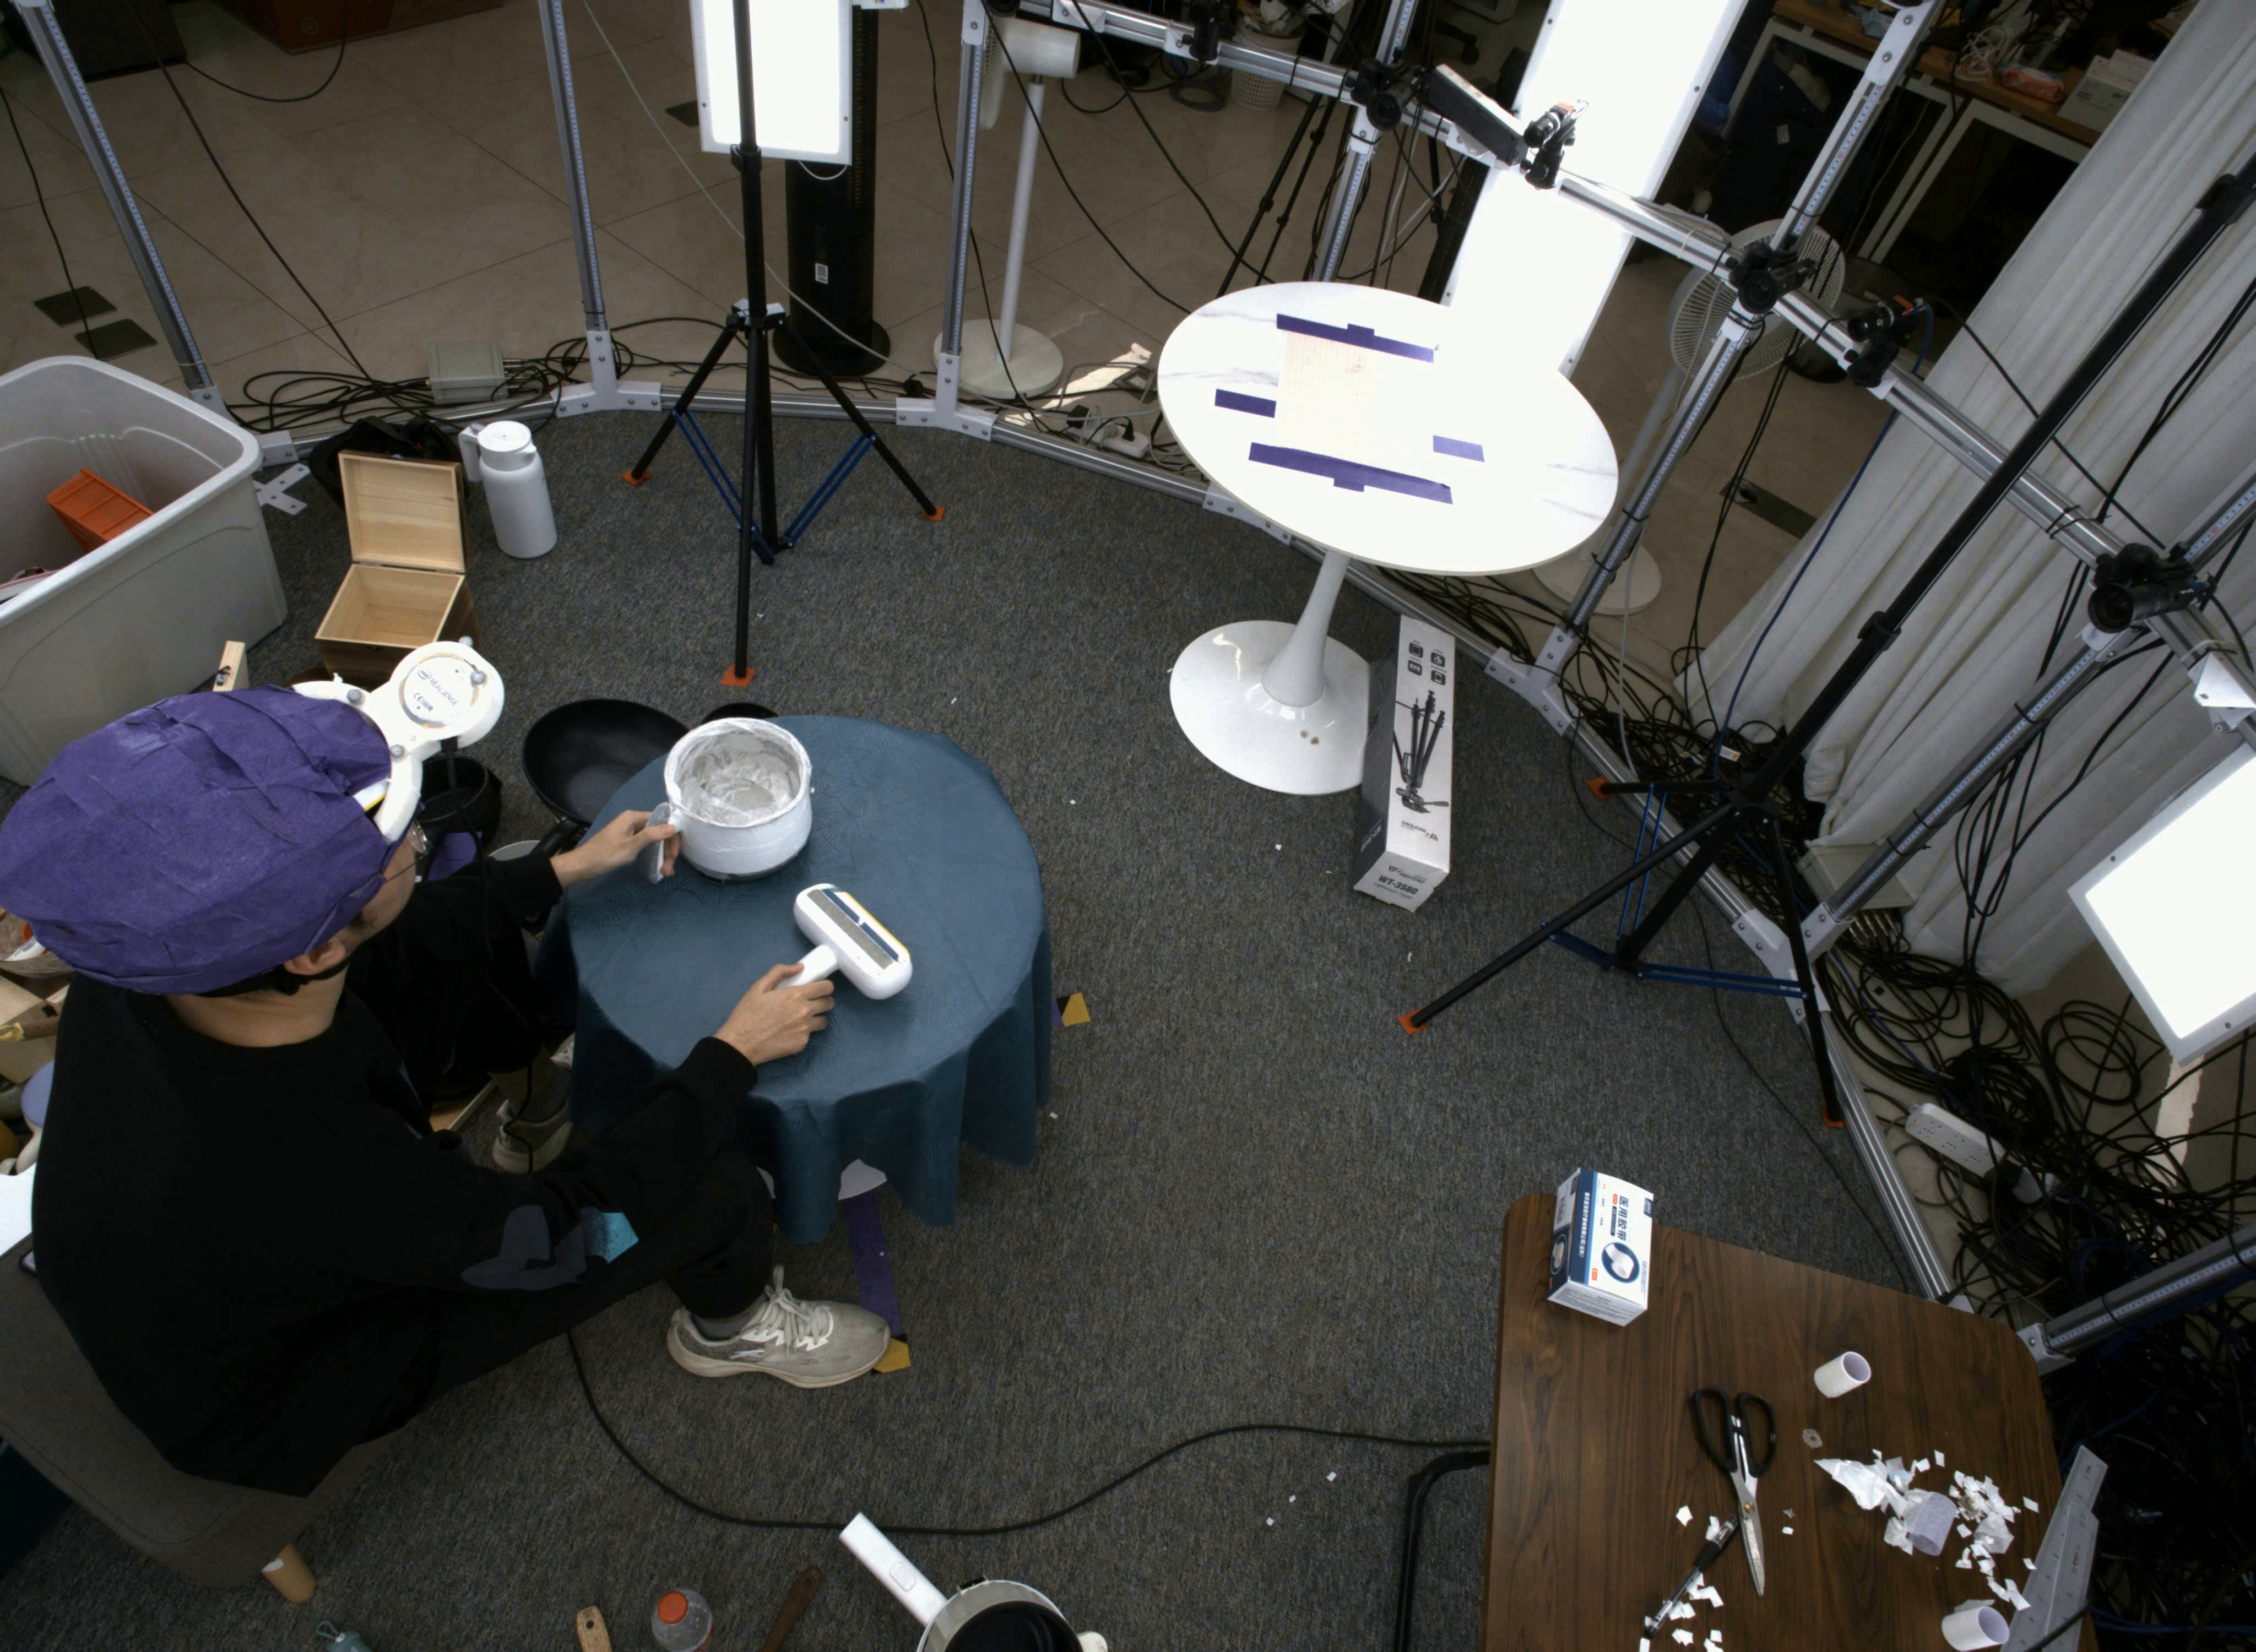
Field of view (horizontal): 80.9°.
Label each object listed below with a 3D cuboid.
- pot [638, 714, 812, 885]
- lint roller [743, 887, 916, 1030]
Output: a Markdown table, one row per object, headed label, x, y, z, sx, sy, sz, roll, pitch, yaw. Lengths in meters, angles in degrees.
| label | x | y | z | sx | sy | sz | roll | pitch | yaw |
| --- | --- | --- | --- | --- | --- | --- | --- | --- | --- |
| pot | -0.513 | -0.020 | 1.630 | 0.234 | 0.139 | 0.174 | -34 | 65 | -34 |
| lint roller | -0.379 | 0.173 | 1.570 | 0.193 | 0.076 | 0.187 | -30 | 58 | -29 |
